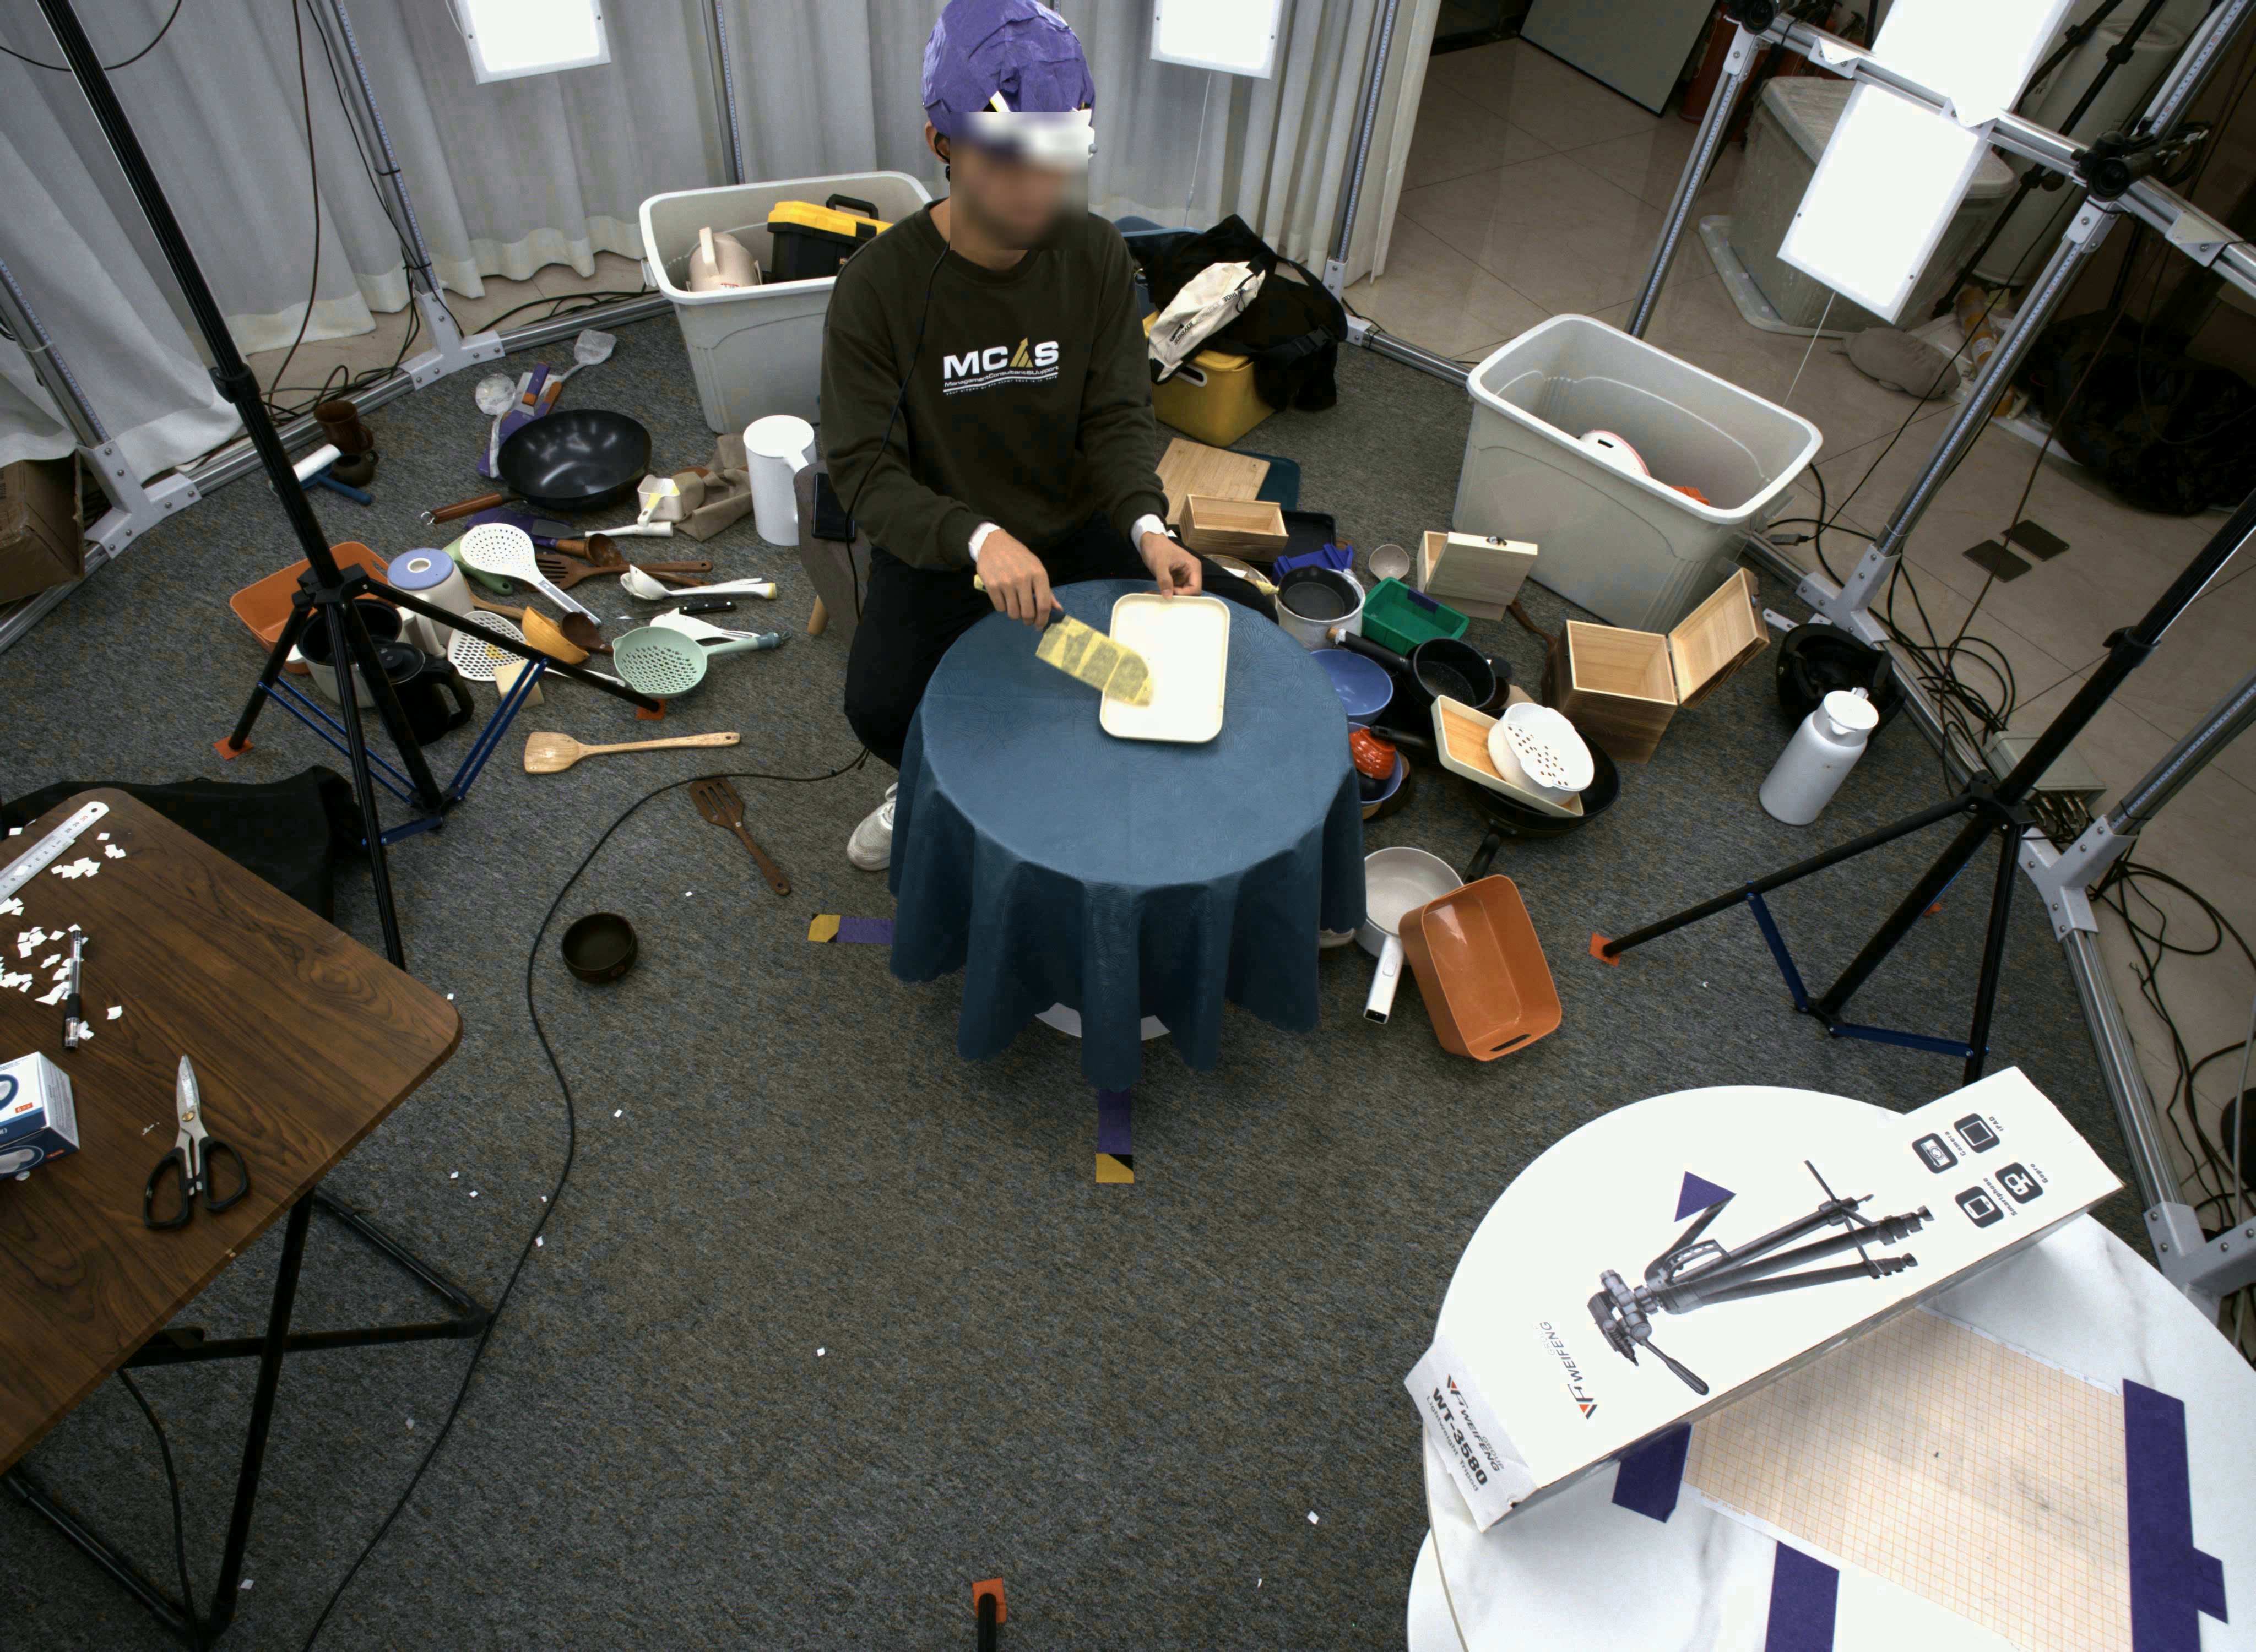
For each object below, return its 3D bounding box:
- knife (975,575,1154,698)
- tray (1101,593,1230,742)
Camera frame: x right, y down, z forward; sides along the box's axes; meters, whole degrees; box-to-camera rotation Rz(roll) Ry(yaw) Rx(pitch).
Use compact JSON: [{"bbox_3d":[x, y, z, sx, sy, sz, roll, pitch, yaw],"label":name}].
[{"bbox_3d":[-0.089,-0.261,1.781,0.289,0.080,0.027,30,18,-1],"label":"knife"},{"bbox_3d":[0.055,-0.225,1.815,0.171,0.017,0.244,4,63,6],"label":"tray"}]
